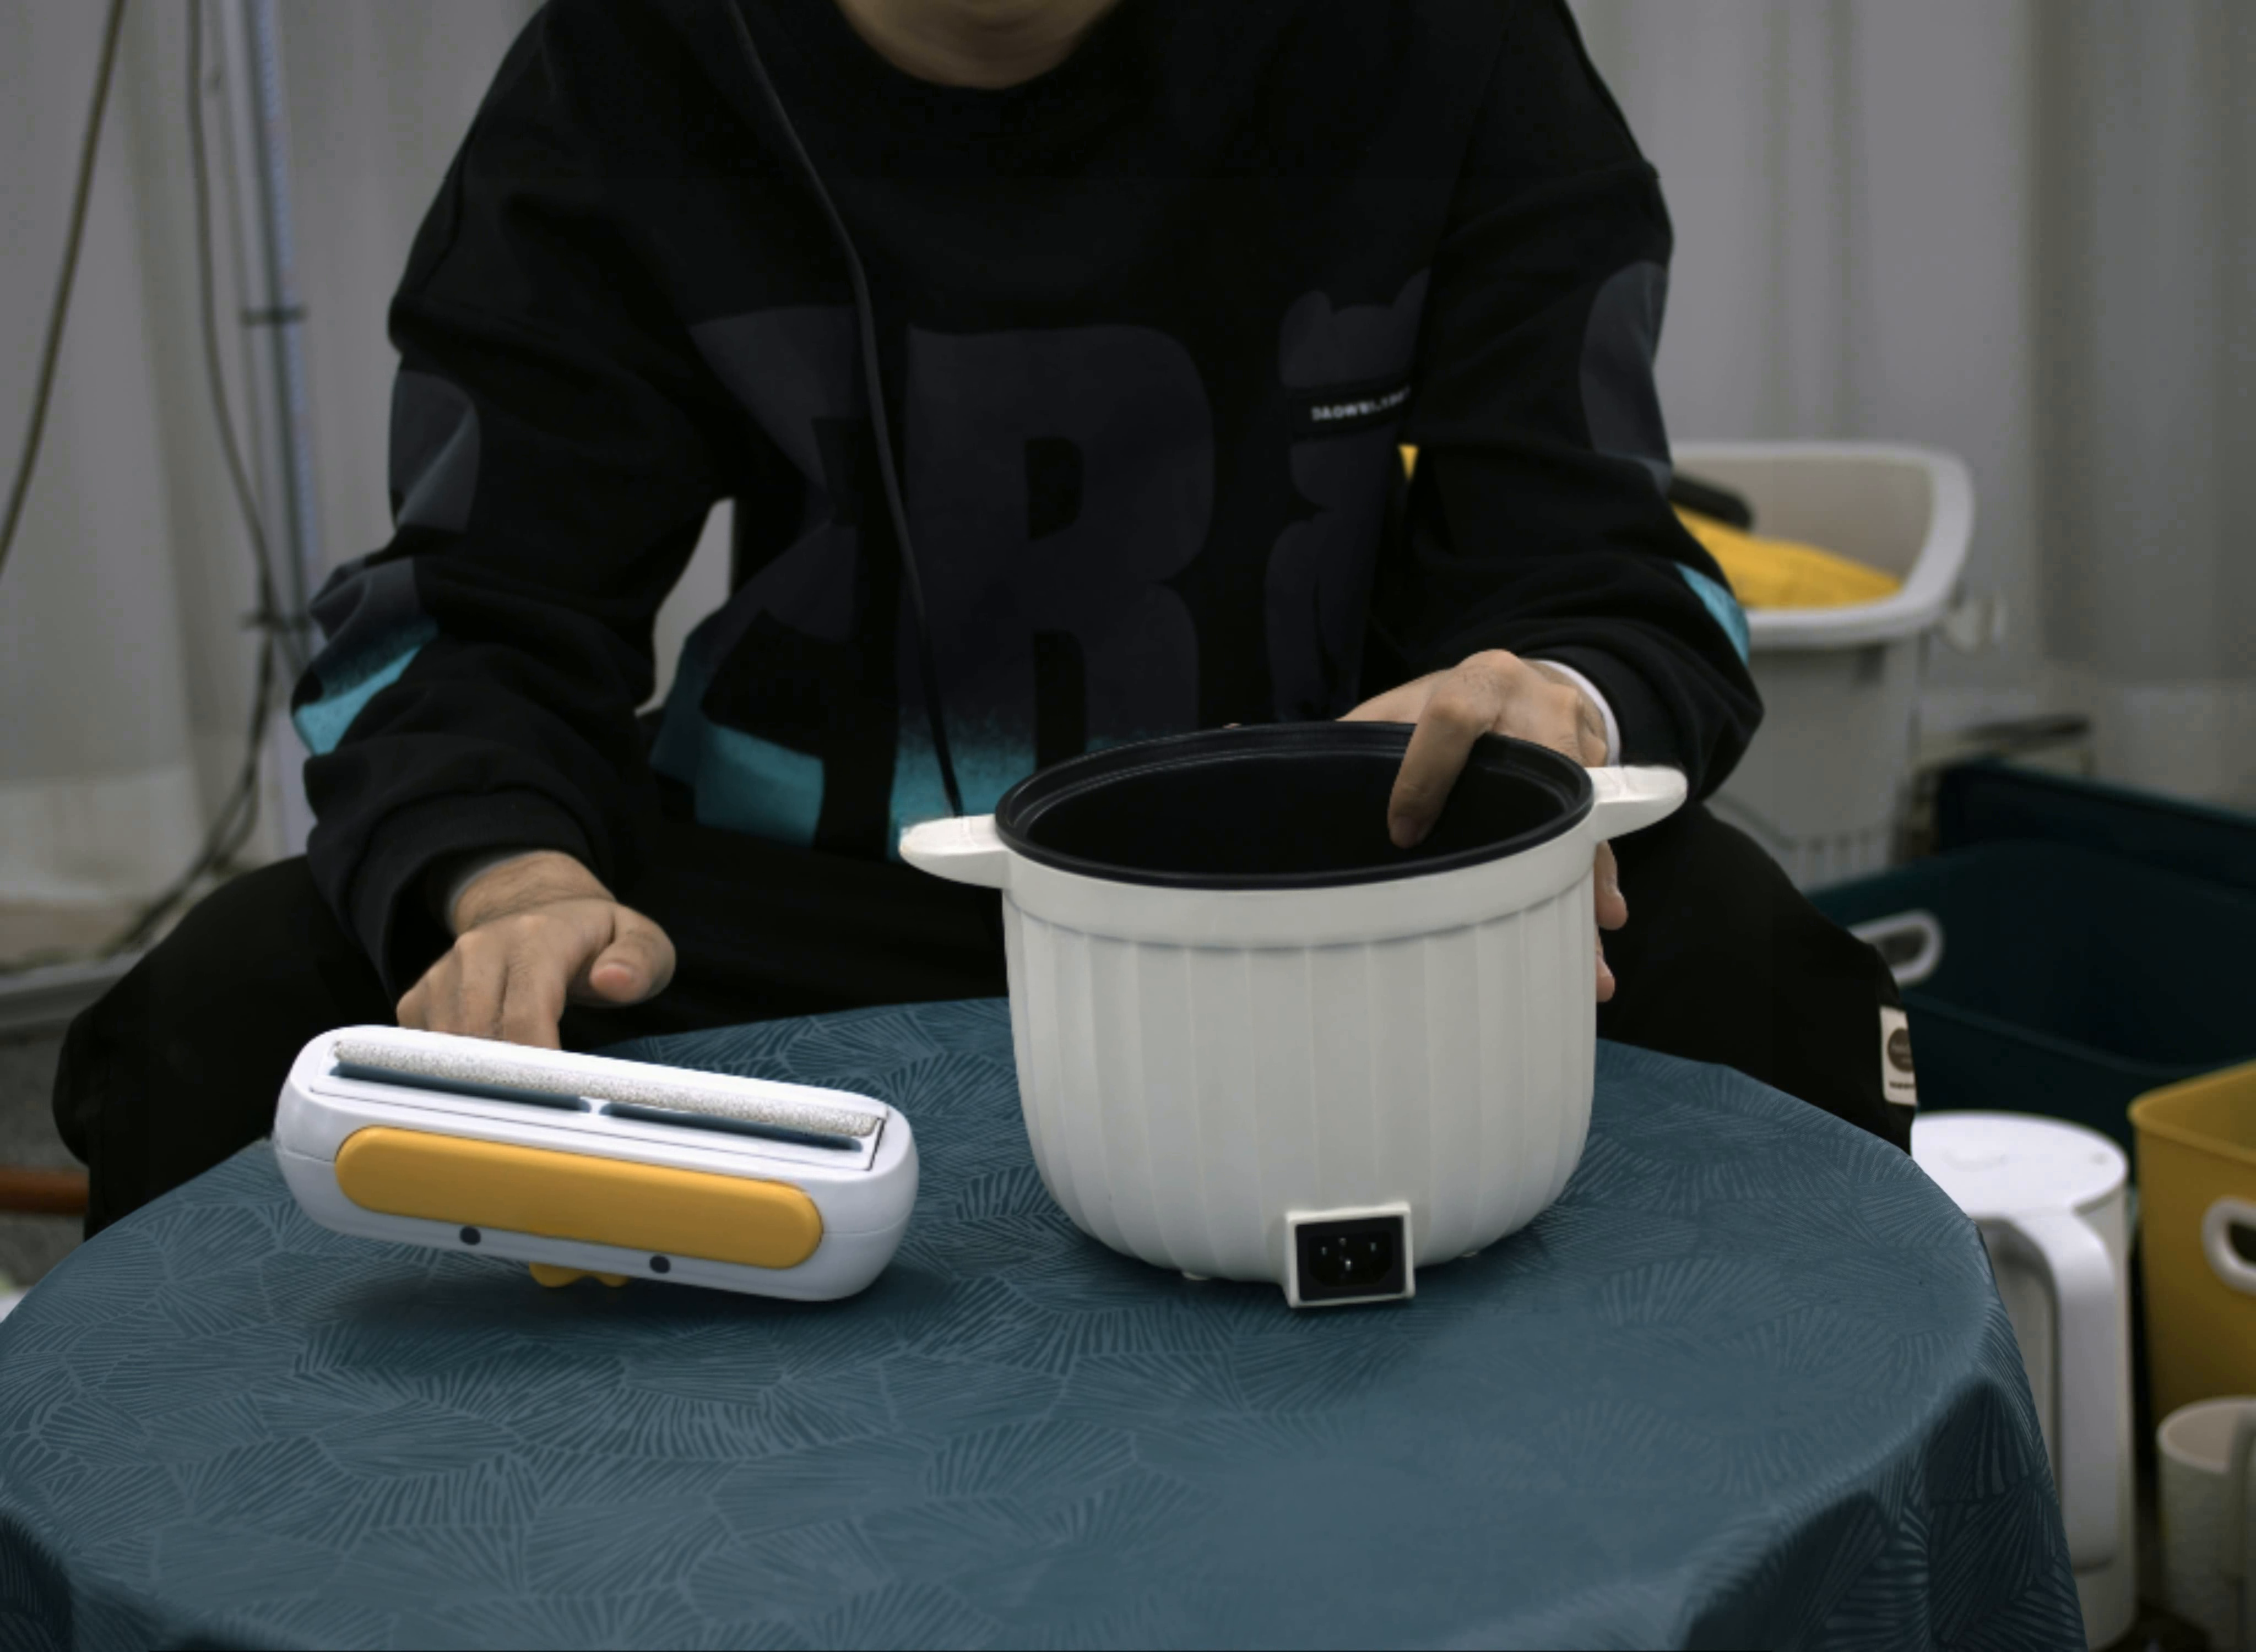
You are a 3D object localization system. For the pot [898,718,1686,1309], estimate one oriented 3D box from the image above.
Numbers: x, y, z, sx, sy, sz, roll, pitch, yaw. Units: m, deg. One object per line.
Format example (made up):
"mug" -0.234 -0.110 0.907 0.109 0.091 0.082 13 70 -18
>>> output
"pot" 0.051 0.053 1.665 0.239 0.142 0.192 -3 17 -6

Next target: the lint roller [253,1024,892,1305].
"lint roller" -0.158 0.093 1.696 0.192 0.074 0.193 4 14 8
